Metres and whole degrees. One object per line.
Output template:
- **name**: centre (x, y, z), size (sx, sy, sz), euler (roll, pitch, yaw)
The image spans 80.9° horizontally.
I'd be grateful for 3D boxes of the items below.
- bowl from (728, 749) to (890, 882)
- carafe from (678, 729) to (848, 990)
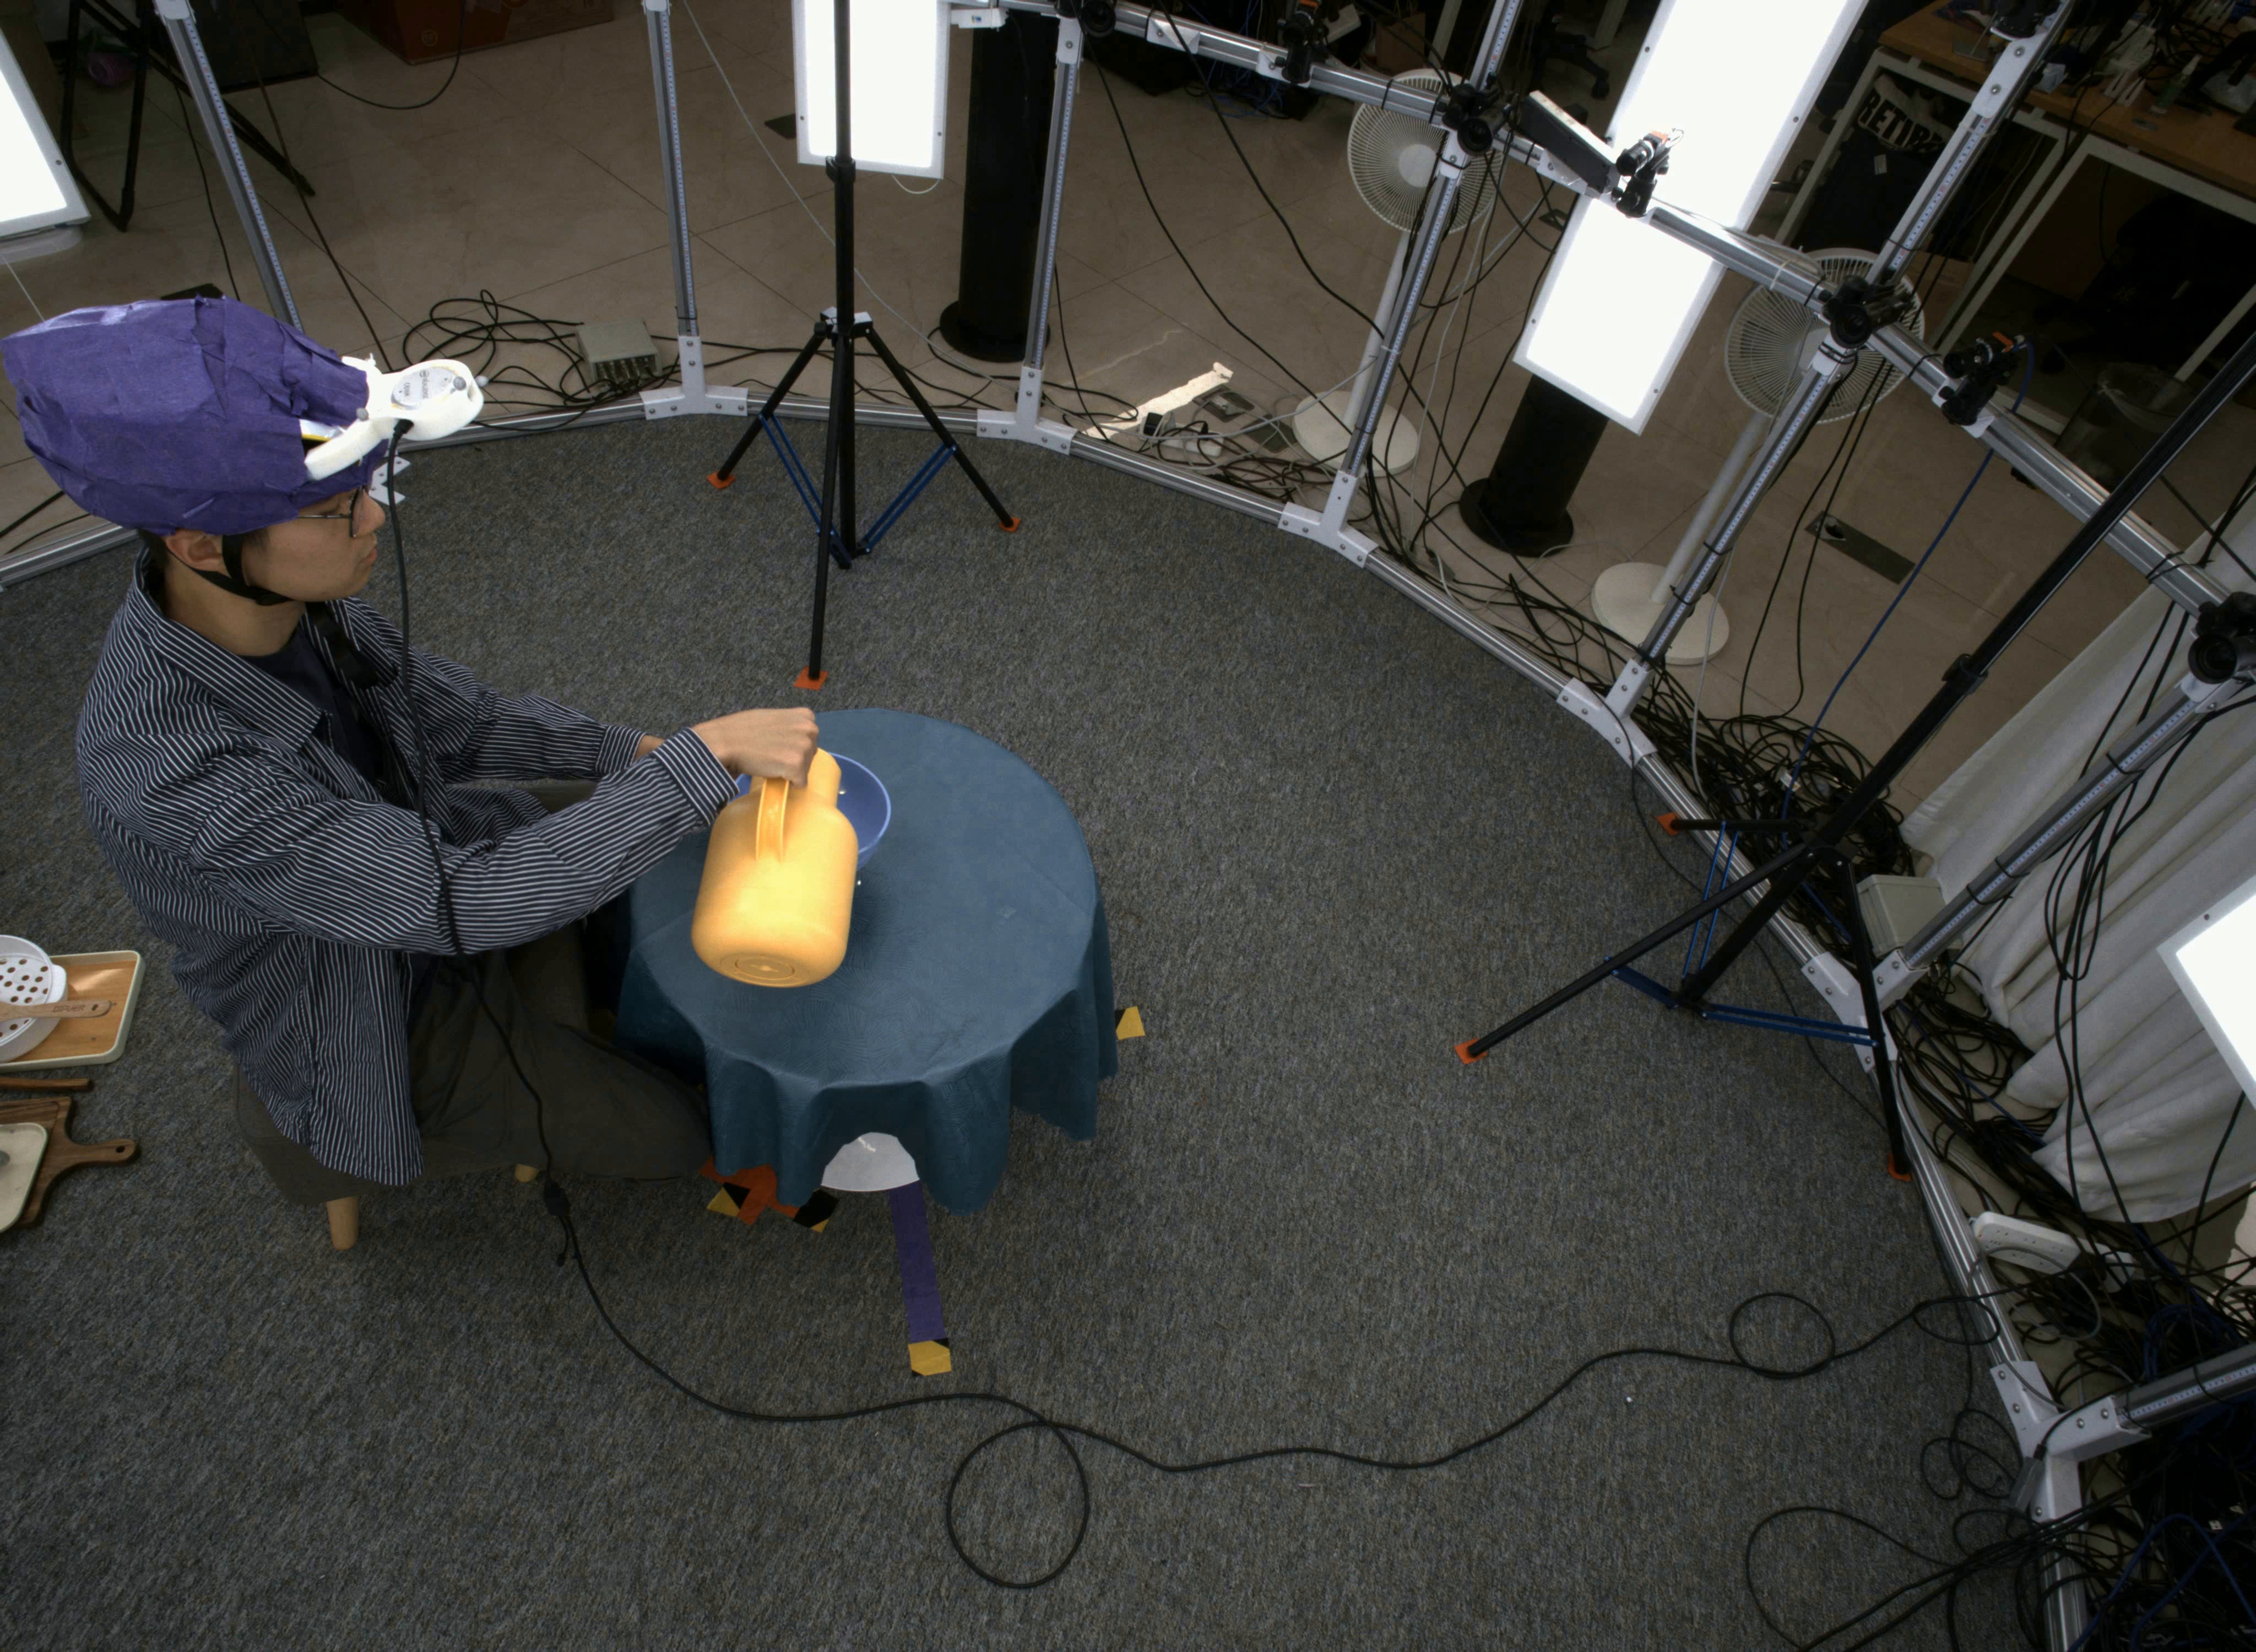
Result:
- **bowl**: centre (-0.398, 0.006, 1.619), size (0.196, 0.097, 0.192), euler (10, 45, -8)
- **carafe**: centre (-0.390, 0.027, 1.406), size (0.163, 0.205, 0.258), euler (6, 64, -6)
